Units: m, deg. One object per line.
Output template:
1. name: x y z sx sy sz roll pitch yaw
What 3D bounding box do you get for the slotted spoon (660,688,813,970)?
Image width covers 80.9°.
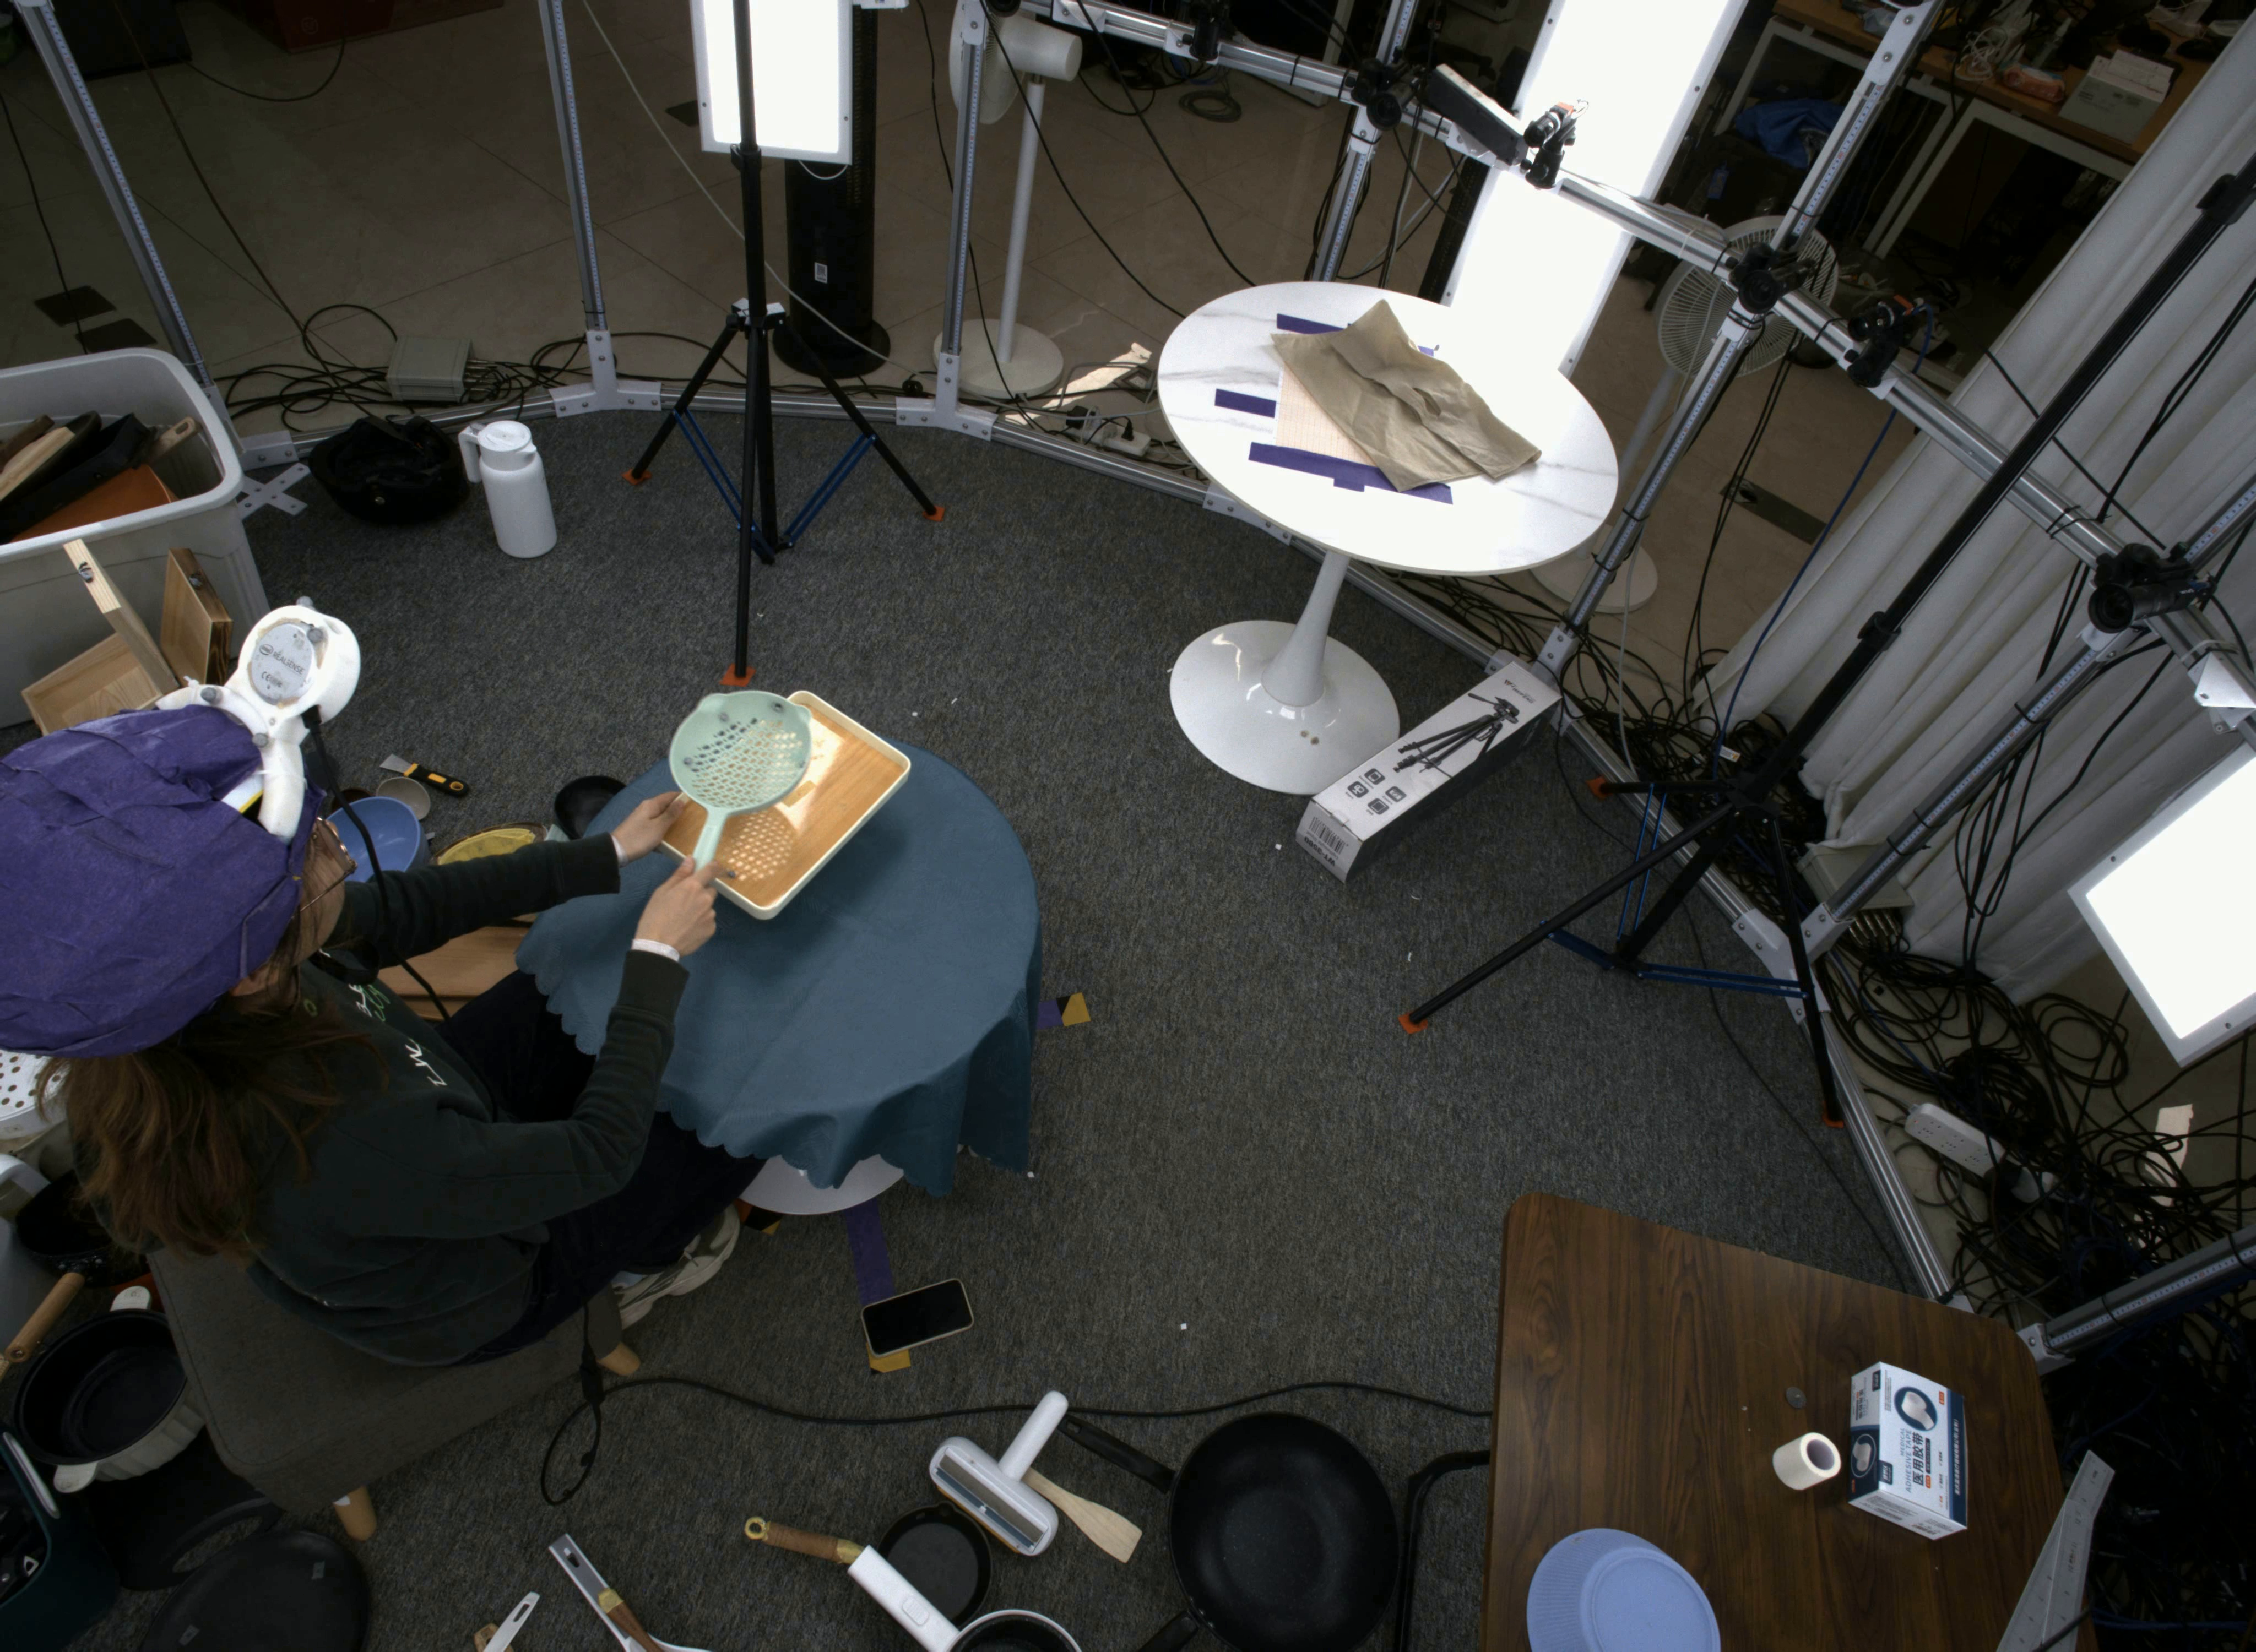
1. slotted spoon: -0.472 -0.006 1.482 0.167 0.077 0.354 9 52 5

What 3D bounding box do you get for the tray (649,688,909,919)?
1. tray: -0.432 -0.036 1.625 0.190 0.028 0.299 34 53 5
